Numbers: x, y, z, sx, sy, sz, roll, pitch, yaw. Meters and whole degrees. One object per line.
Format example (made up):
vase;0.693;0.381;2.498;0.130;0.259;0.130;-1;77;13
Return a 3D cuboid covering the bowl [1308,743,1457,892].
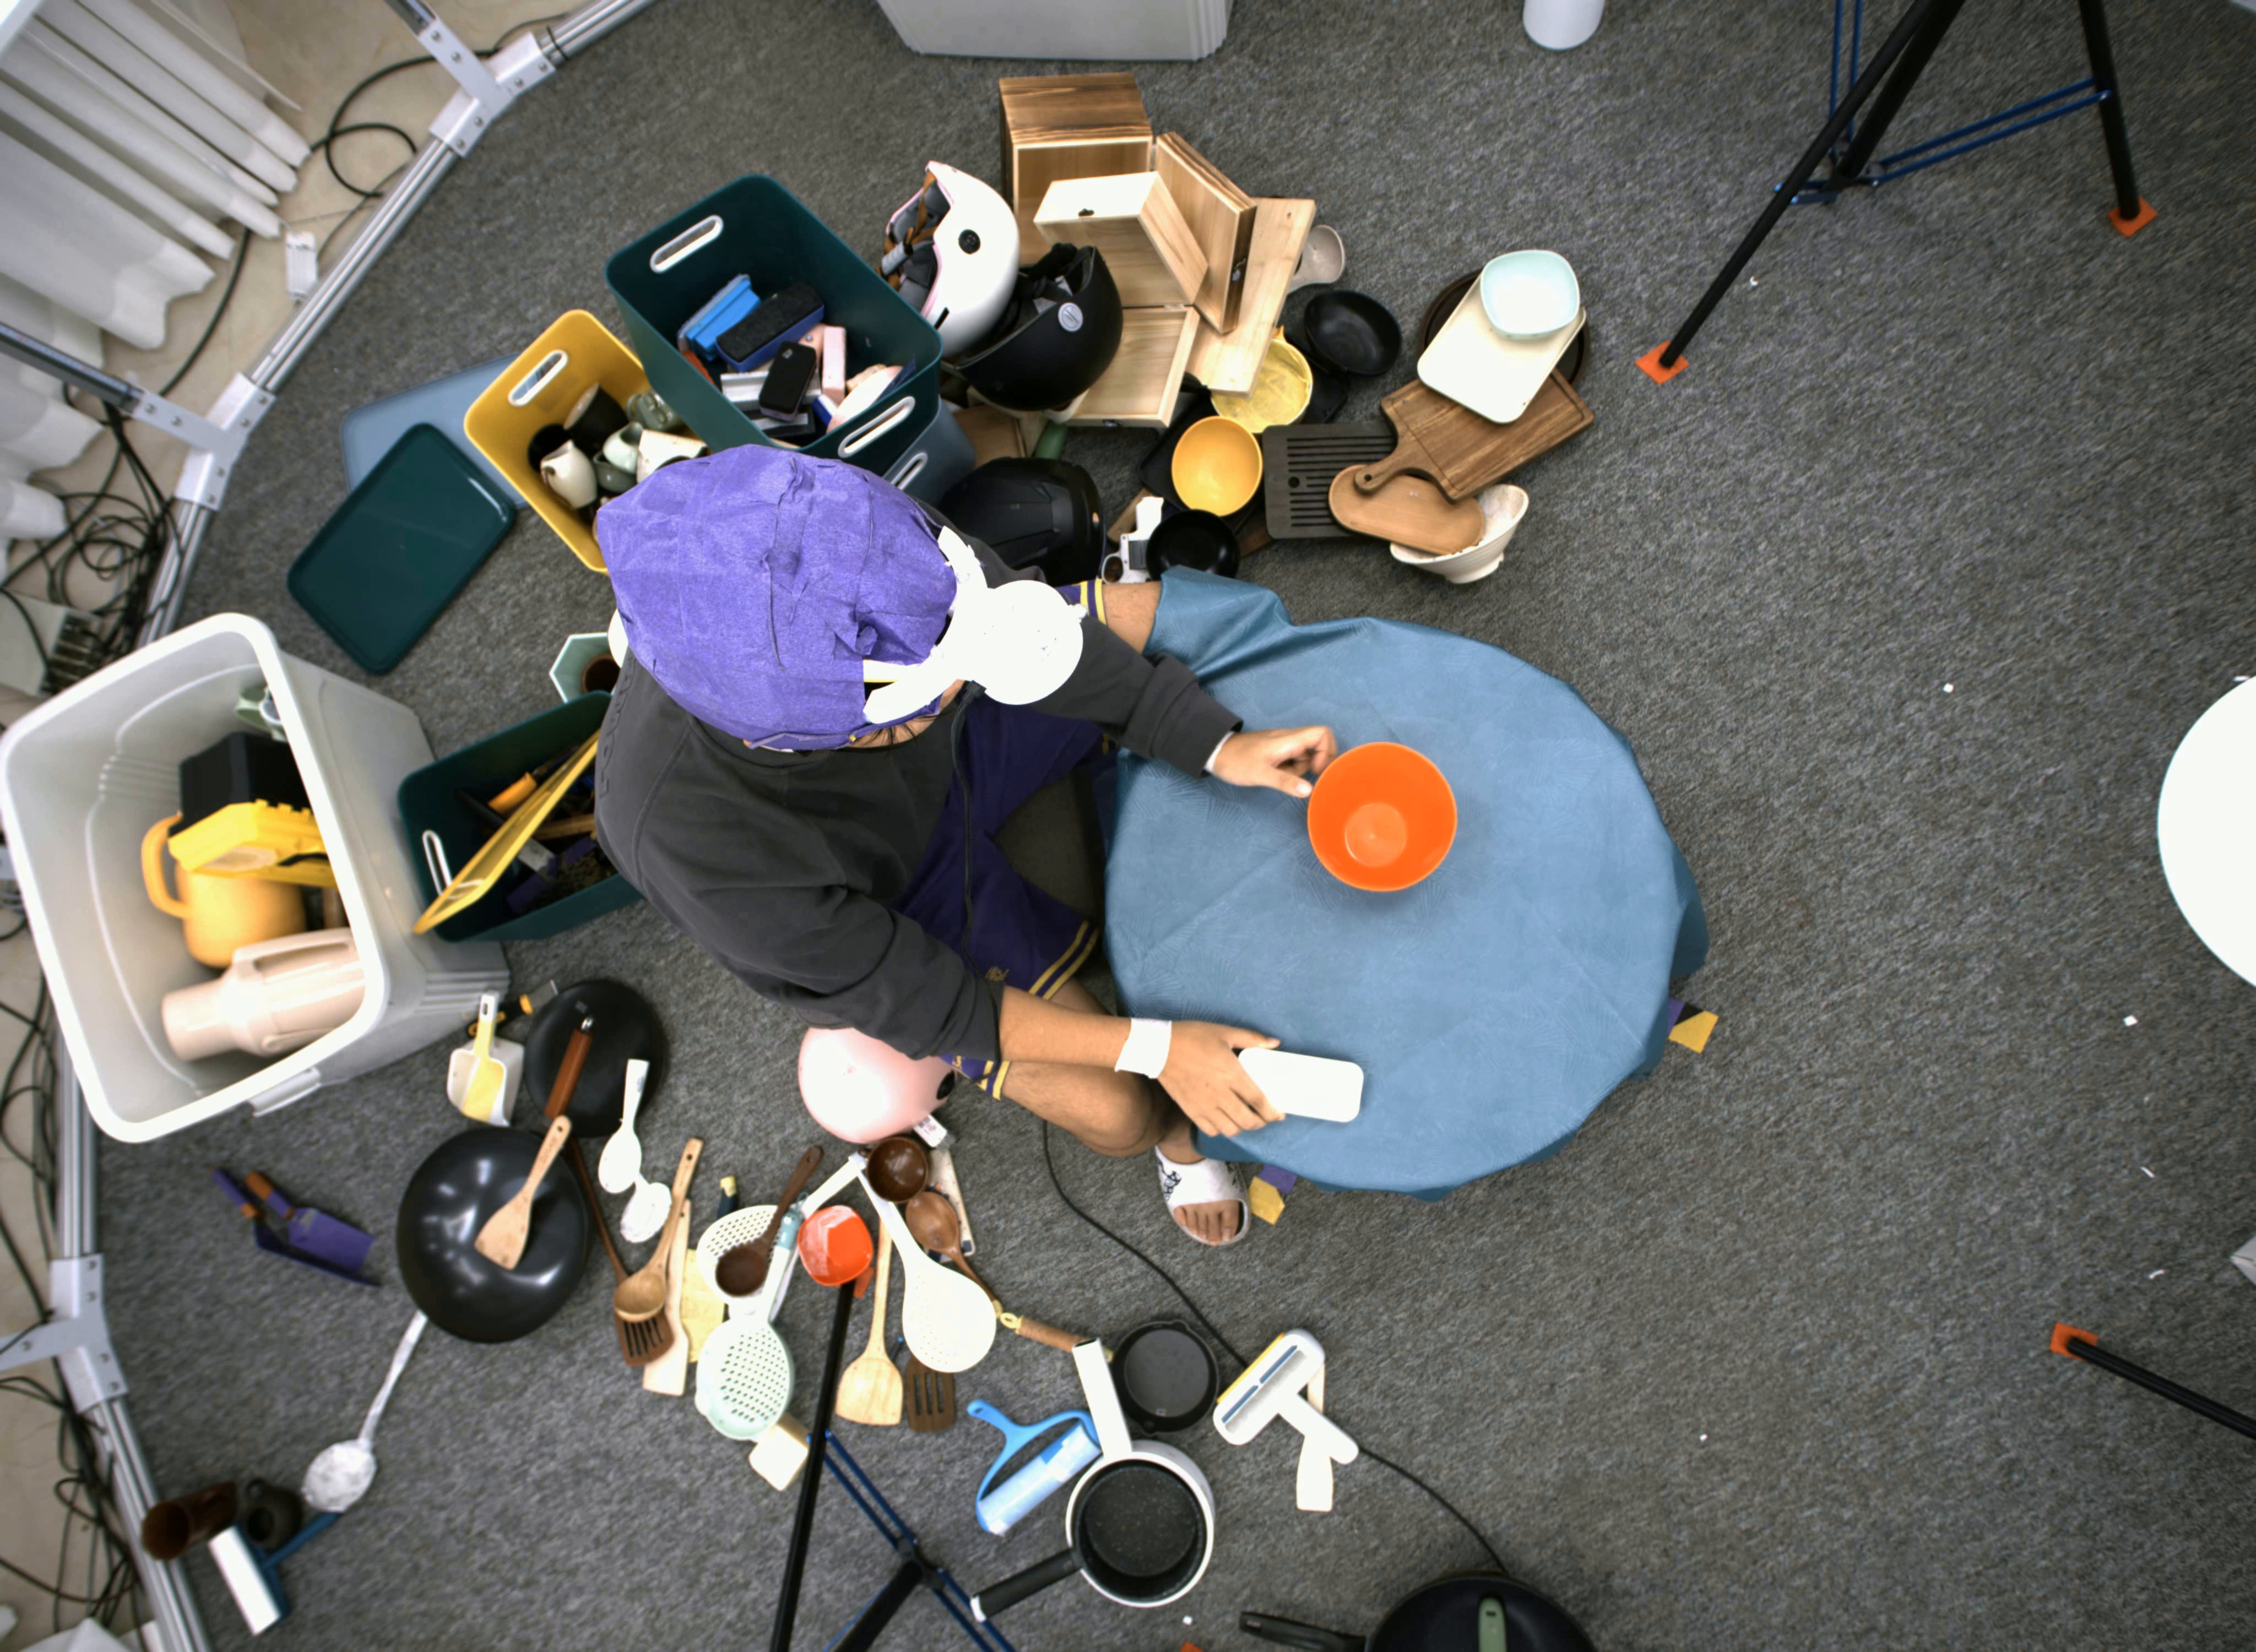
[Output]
bowl;0.260;-0.005;1.415;0.148;0.104;0.147;-1;87;11

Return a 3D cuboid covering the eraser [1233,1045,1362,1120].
eraser;0.177;0.265;1.449;0.131;0.034;0.063;9;87;9
